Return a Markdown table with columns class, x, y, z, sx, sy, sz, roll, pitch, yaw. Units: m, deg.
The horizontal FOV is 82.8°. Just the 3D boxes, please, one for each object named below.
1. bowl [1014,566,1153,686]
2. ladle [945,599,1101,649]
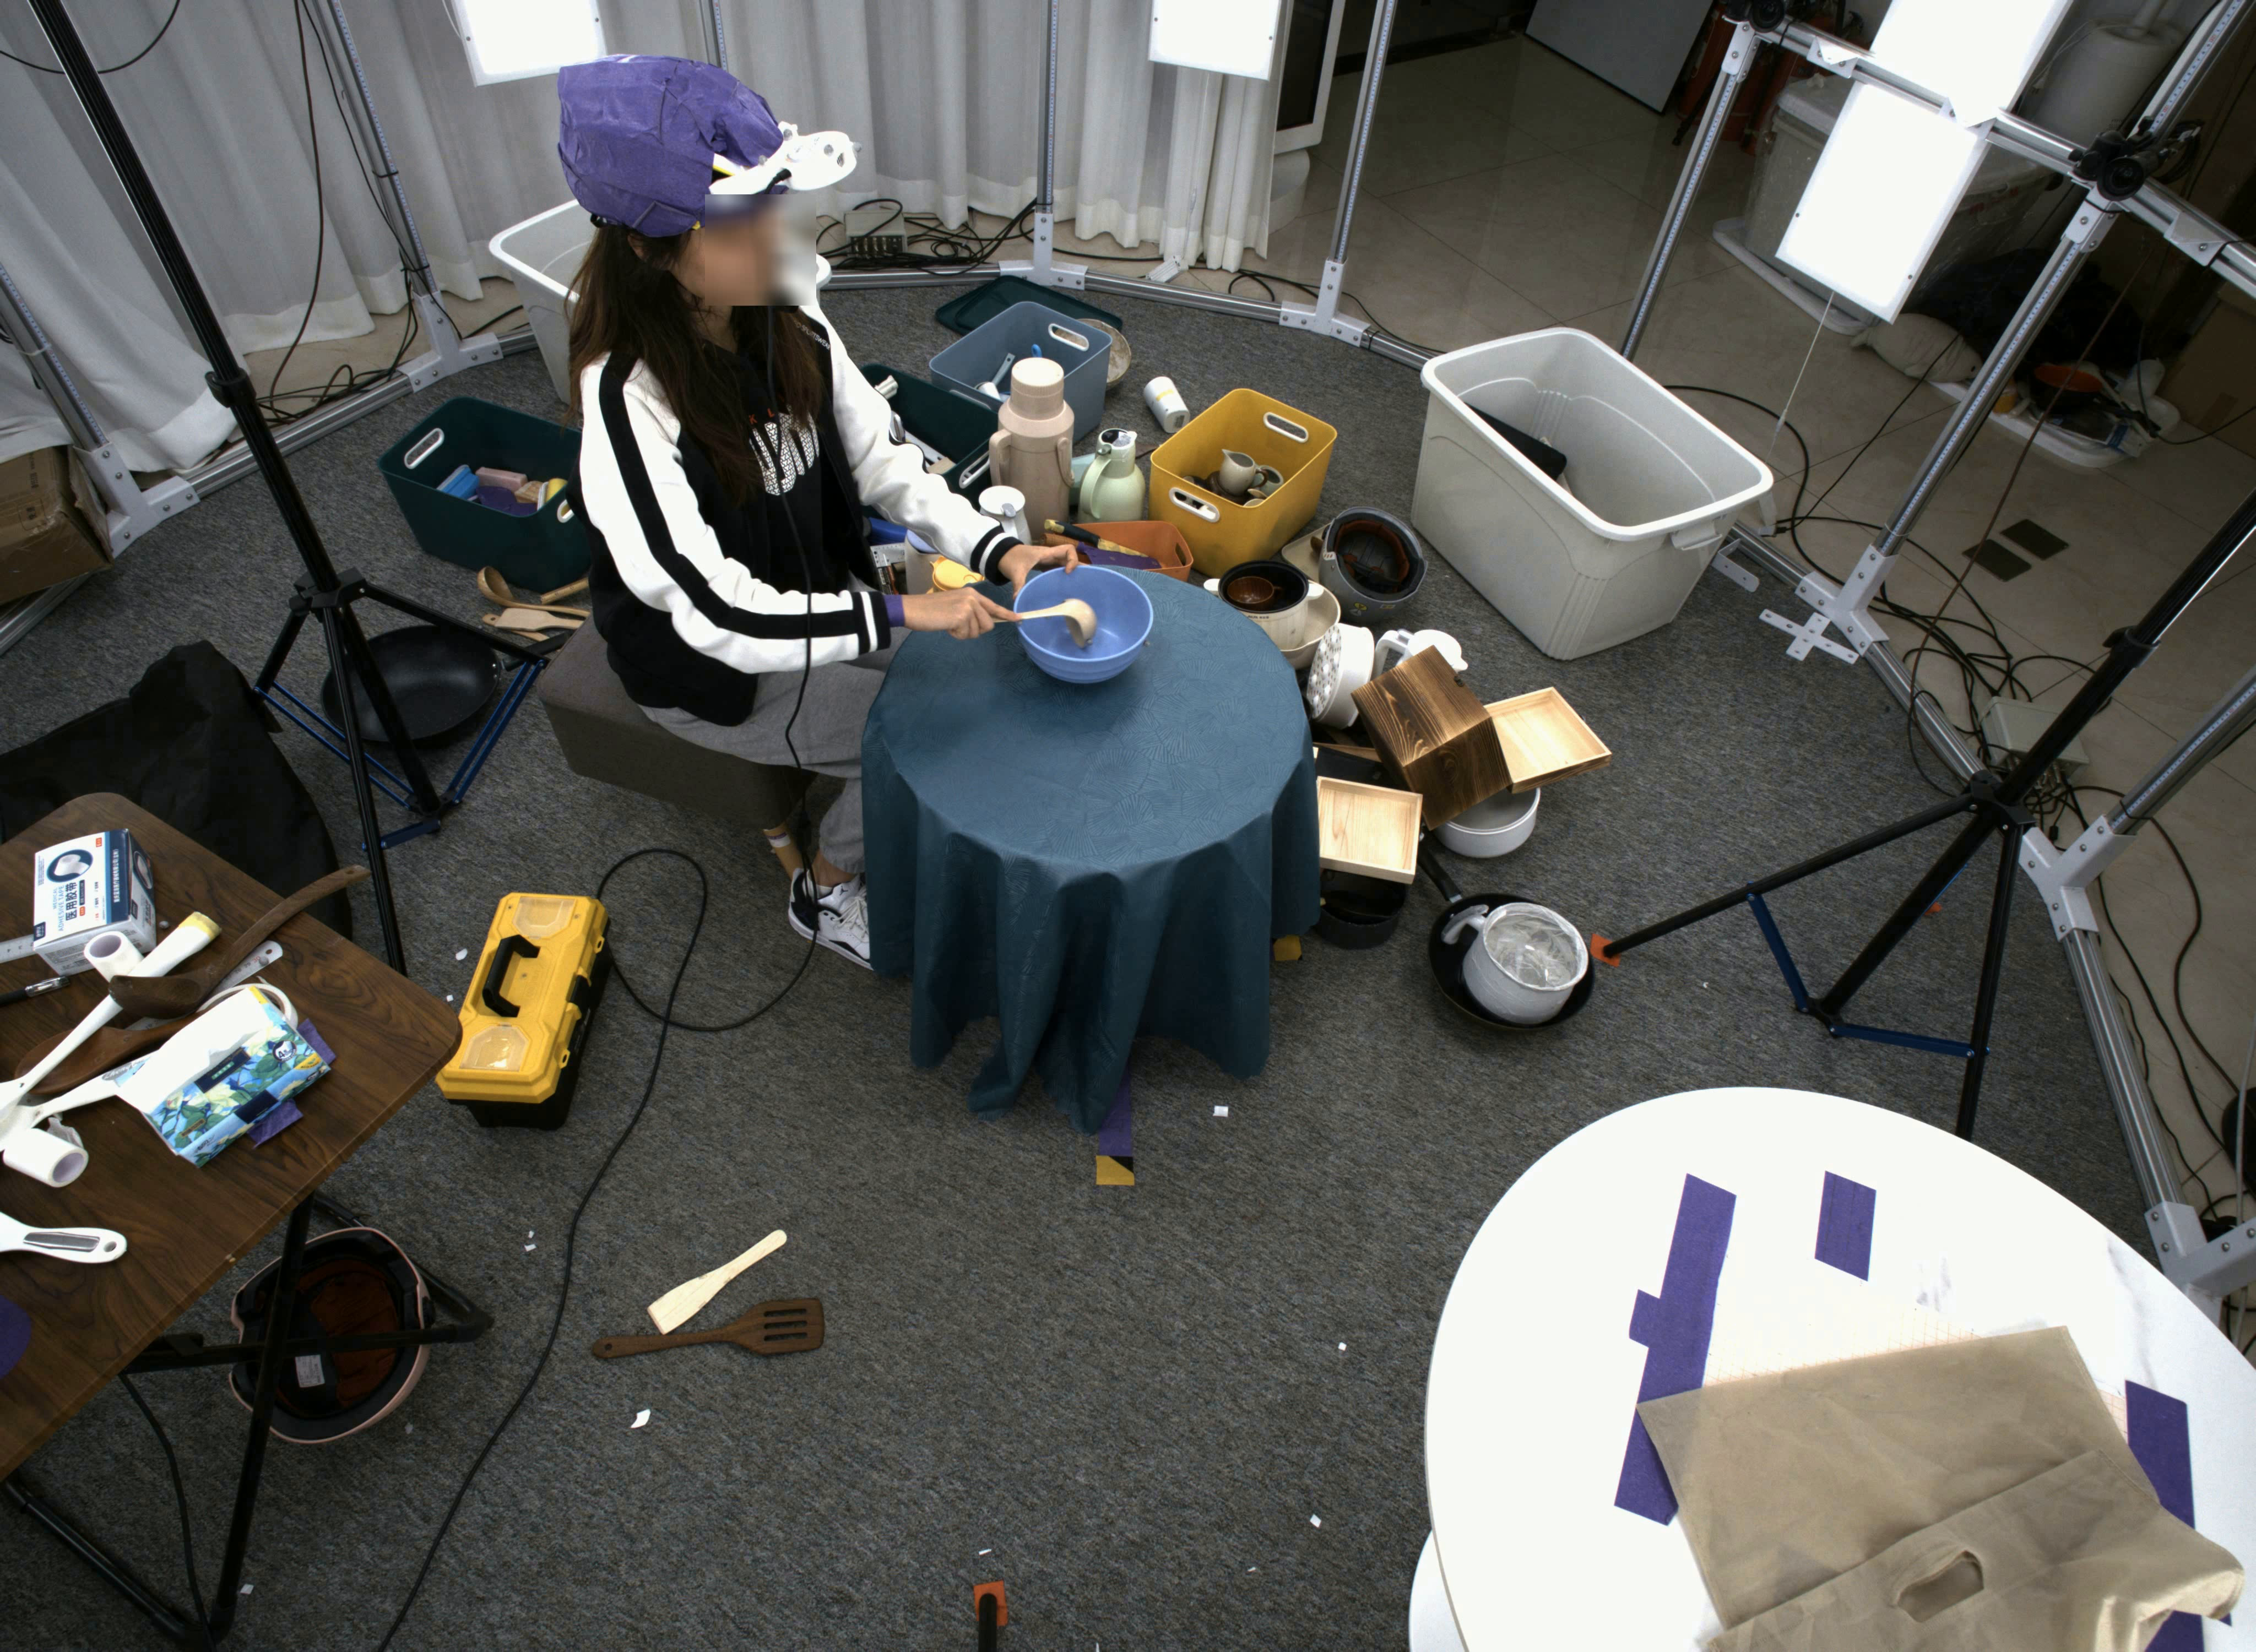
| class | x | y | z | sx | sy | sz | roll | pitch | yaw |
| --- | --- | --- | --- | --- | --- | --- | --- | --- | --- |
| bowl | -0.064 | -0.271 | 1.842 | 0.196 | 0.093 | 0.201 | 1 | 52 | -2 |
| ladle | -0.152 | -0.276 | 1.798 | 0.254 | 0.071 | 0.073 | -10 | 59 | -34 |
